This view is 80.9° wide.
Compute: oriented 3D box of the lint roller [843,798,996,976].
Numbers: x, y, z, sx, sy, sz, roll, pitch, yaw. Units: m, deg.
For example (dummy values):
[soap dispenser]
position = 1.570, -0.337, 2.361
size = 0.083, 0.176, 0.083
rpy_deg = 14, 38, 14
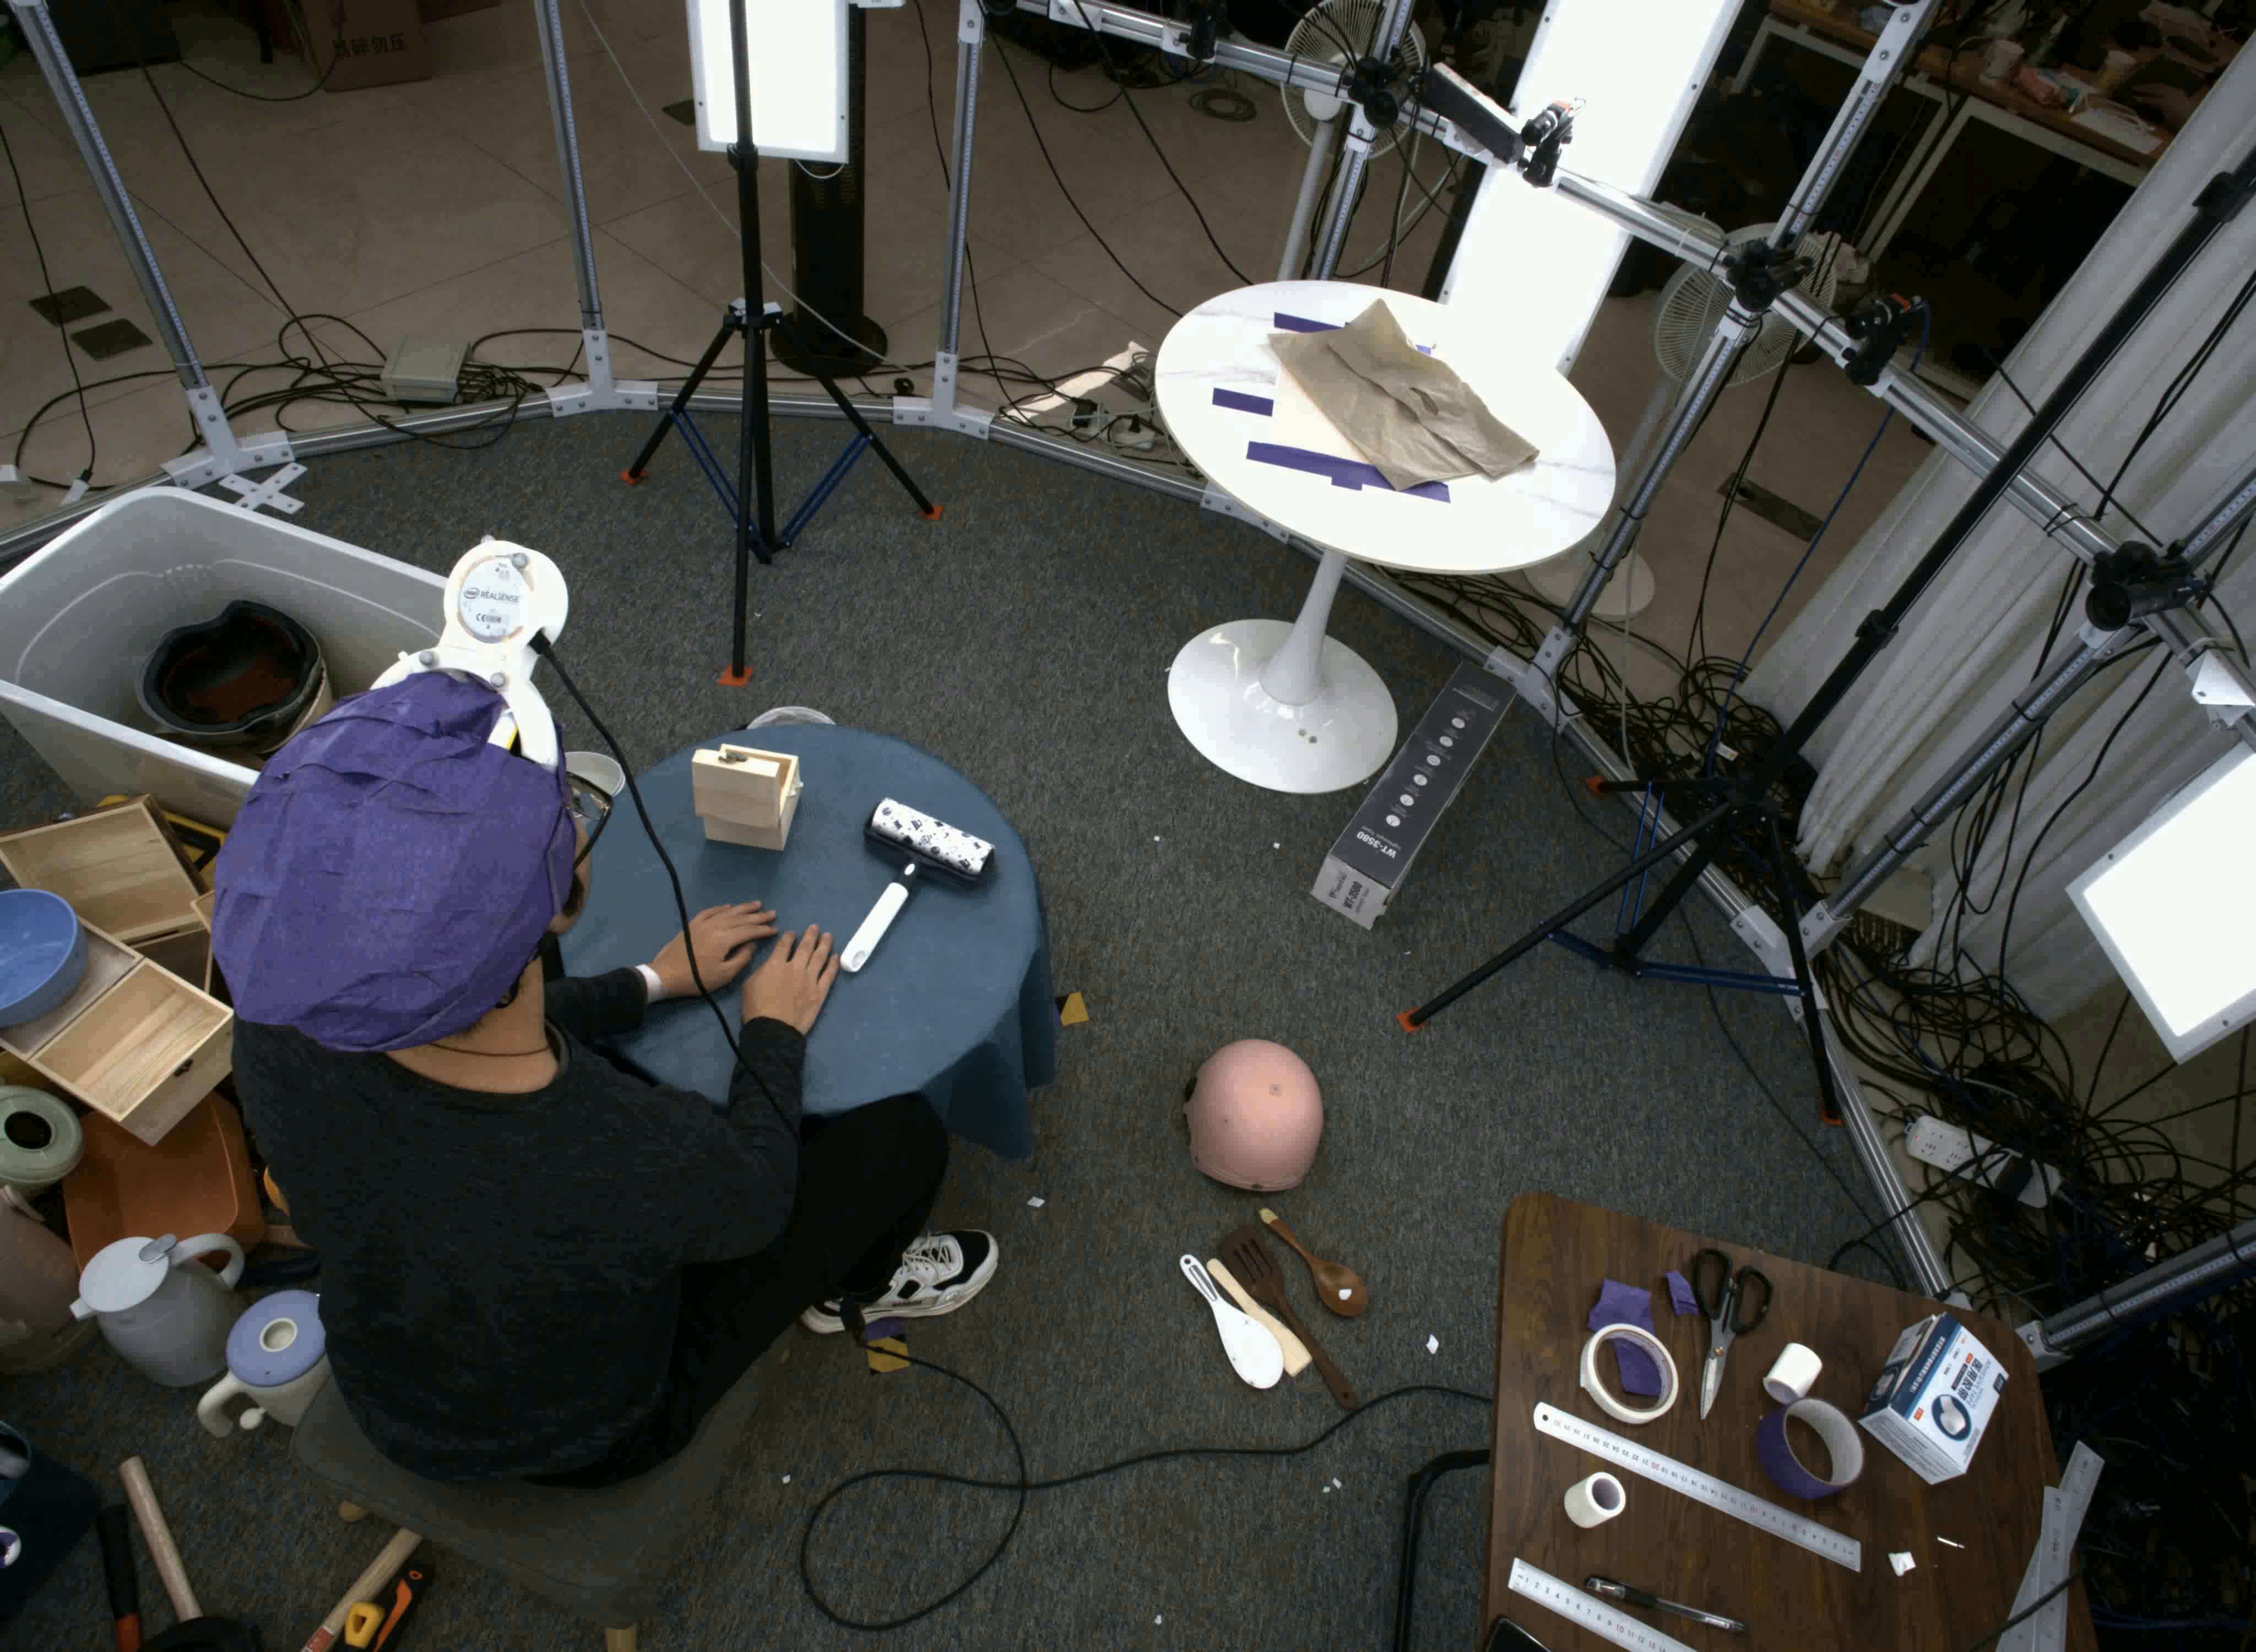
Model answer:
[lint roller]
position = -0.295, 0.085, 1.662
size = 0.174, 0.051, 0.245
rpy_deg = 24, 53, 3

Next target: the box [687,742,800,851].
[box]
position = -0.482, -0.065, 1.633
size = 0.102, 0.188, 0.131
rpy_deg = 9, 52, -5
